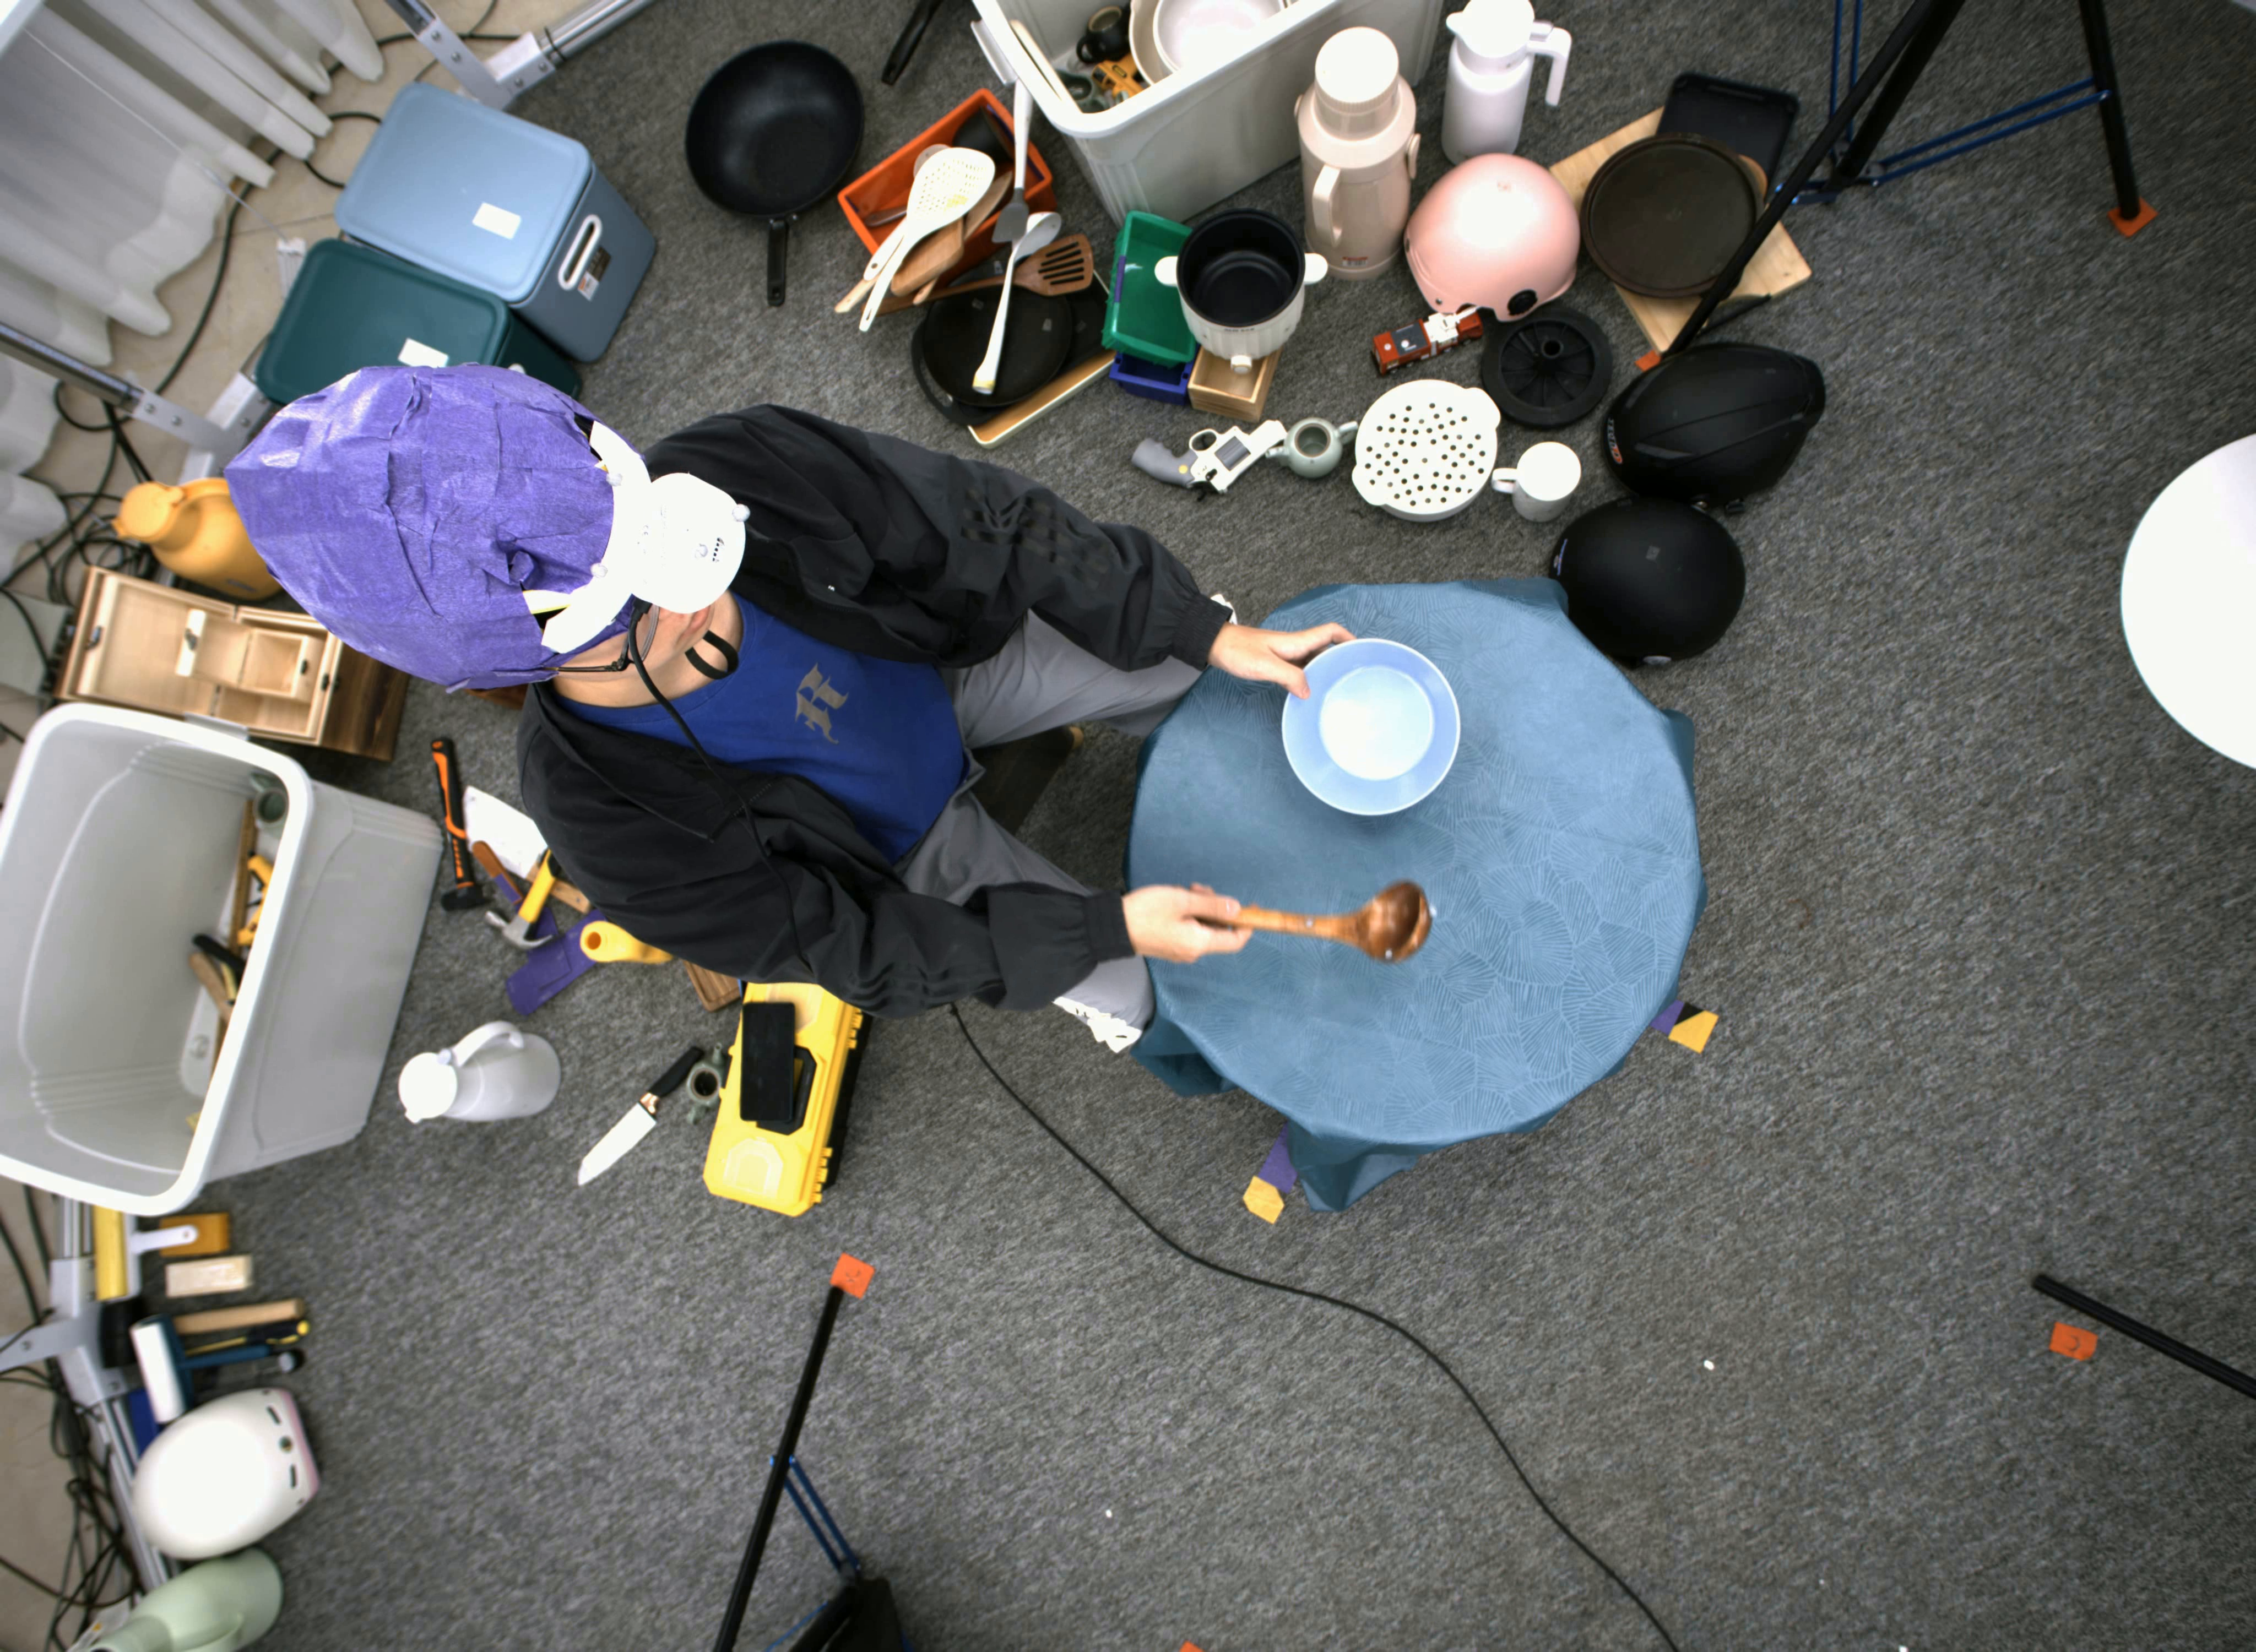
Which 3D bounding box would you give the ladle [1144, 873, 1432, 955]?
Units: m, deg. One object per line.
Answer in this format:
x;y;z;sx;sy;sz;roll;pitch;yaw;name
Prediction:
0.149;0.072;1.319;0.275;0.078;0.080;7;57;8;ladle

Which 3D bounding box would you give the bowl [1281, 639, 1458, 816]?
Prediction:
0.246;-0.102;1.388;0.177;0.069;0.177;3;102;17;bowl
